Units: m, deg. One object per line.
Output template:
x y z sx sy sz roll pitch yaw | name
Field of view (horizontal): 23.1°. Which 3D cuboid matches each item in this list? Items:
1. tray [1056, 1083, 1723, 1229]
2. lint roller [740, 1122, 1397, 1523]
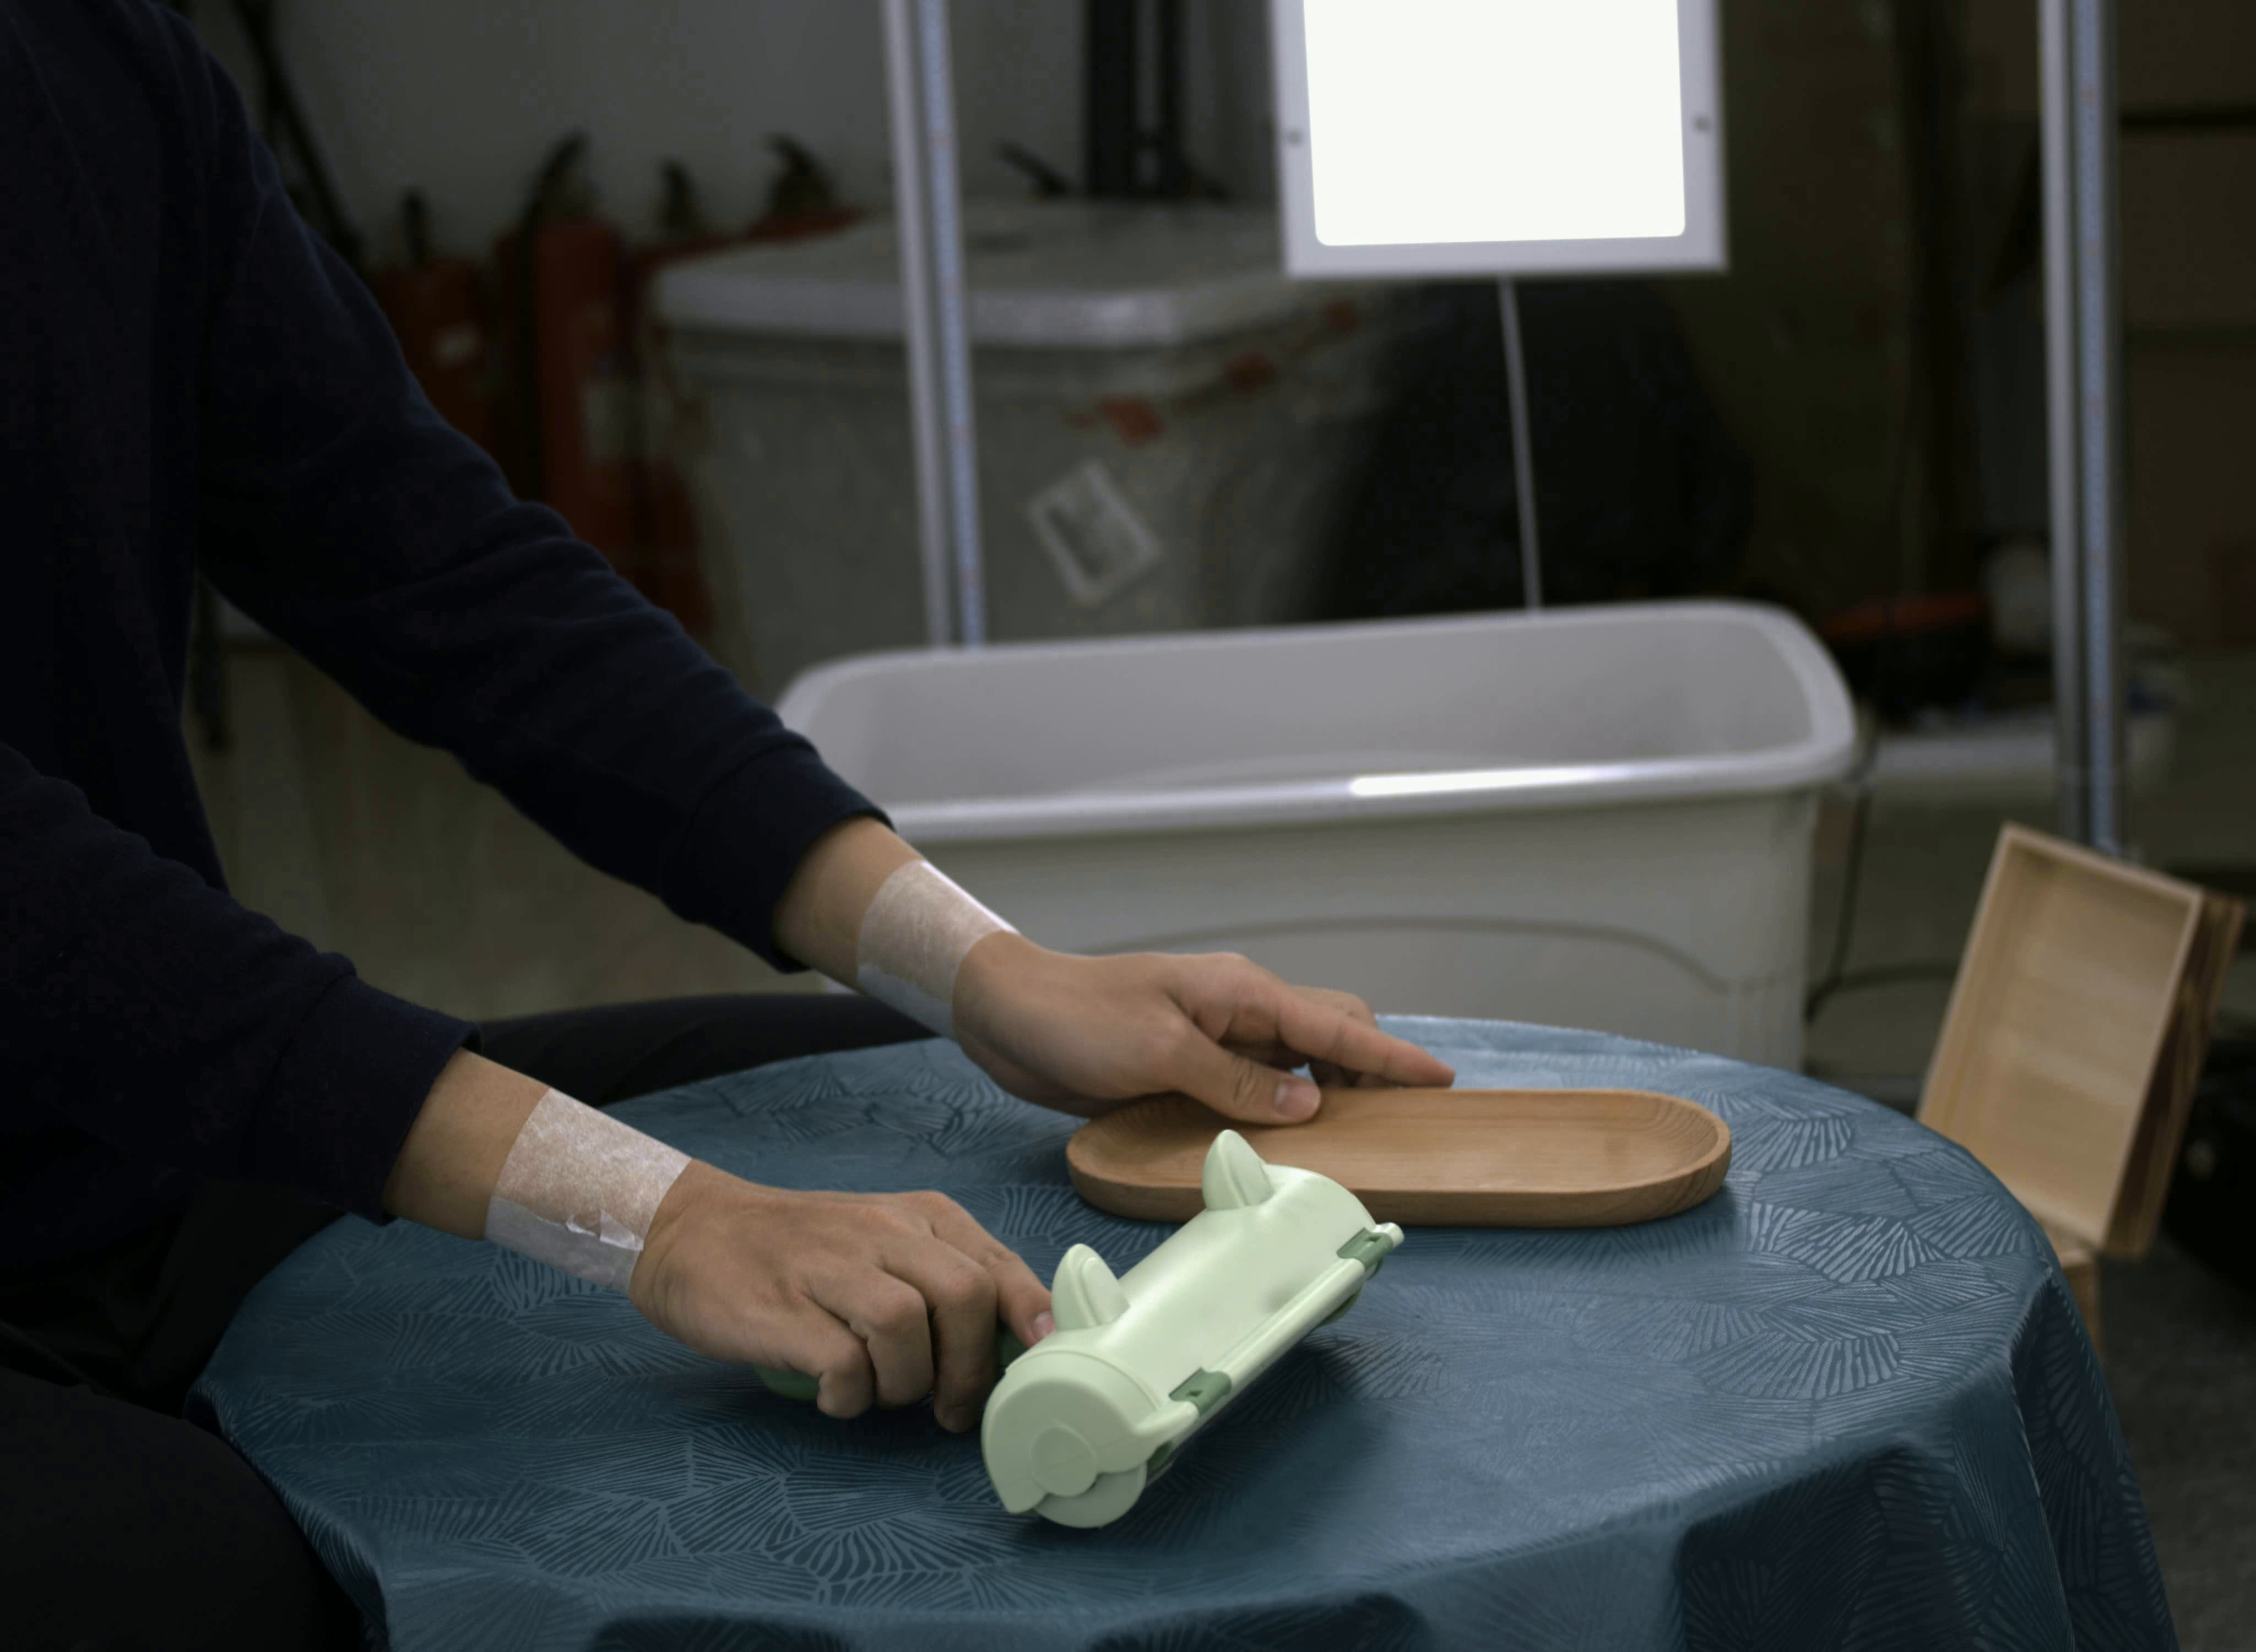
0.089 0.113 1.879 0.234 0.020 0.100 -2 17 17 | tray
-0.034 0.137 1.672 0.186 0.082 0.194 10 18 22 | lint roller
